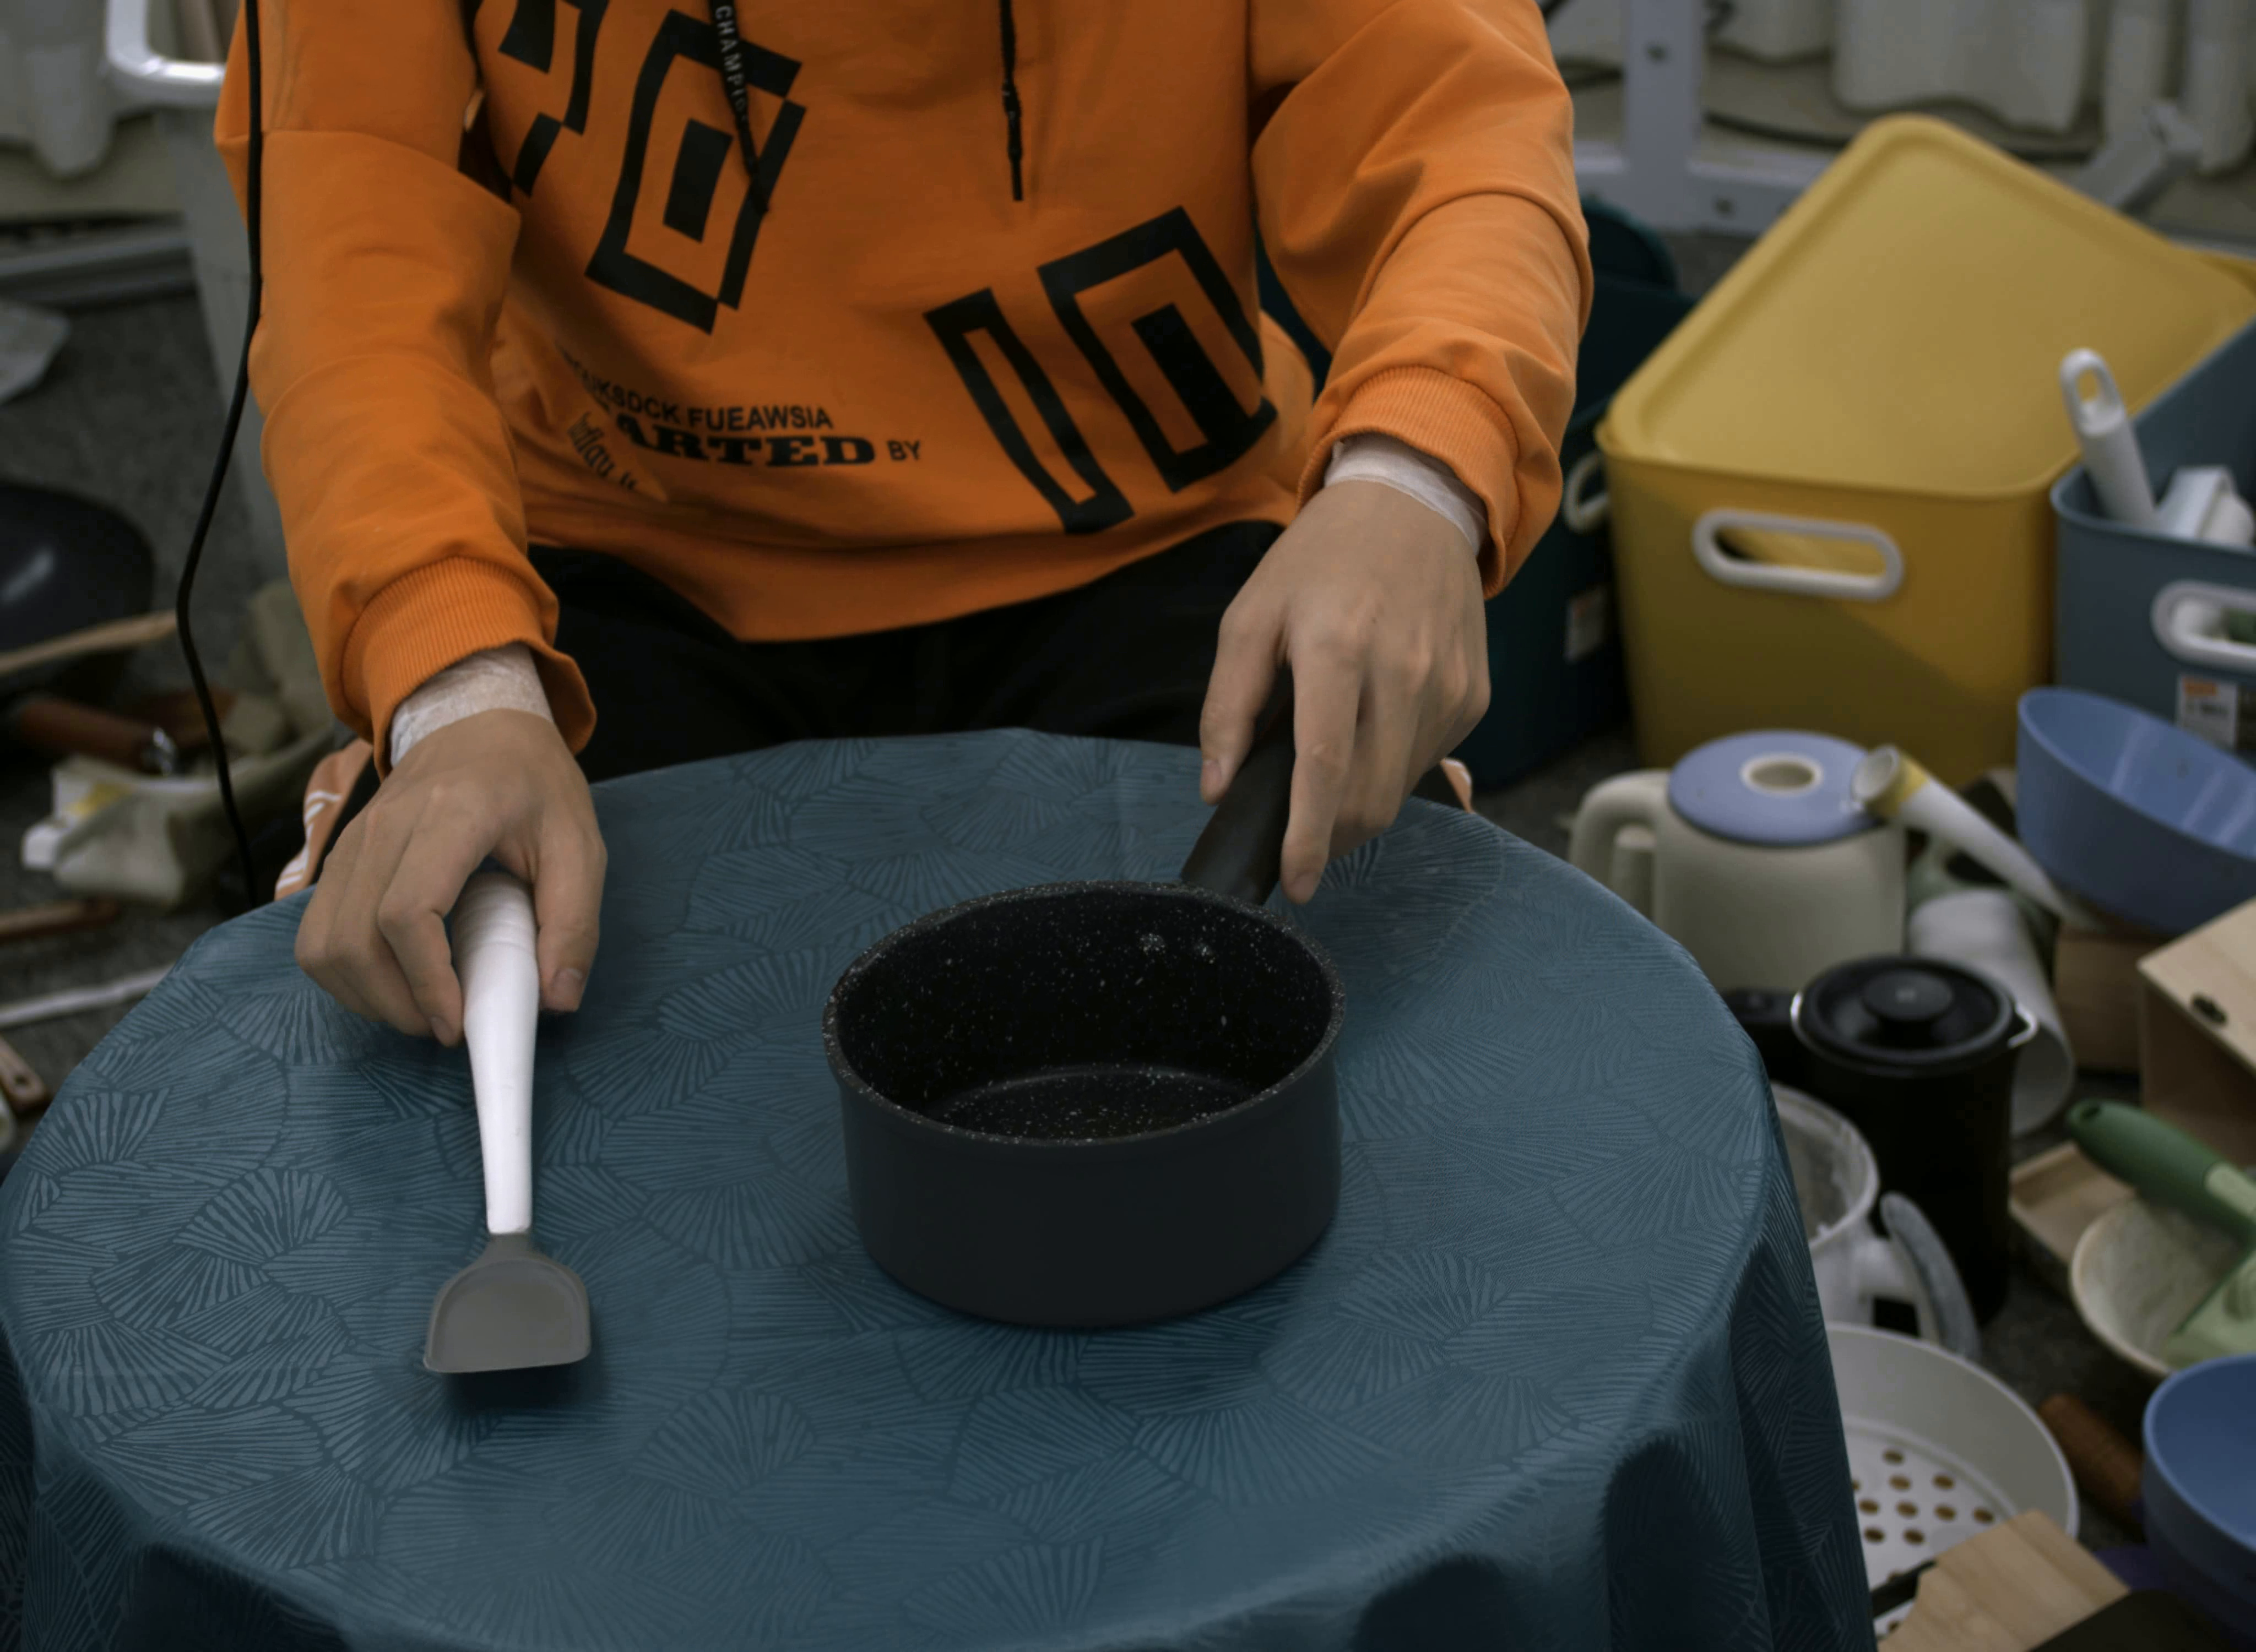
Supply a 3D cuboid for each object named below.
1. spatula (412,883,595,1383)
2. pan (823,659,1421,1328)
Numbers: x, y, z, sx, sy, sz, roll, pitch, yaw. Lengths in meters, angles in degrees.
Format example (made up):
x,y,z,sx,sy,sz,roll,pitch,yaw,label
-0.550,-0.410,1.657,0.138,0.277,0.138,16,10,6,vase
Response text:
x,y,z,sx,sy,sz,roll,pitch,yaw,label
-0.209,0.106,1.873,0.058,0.032,0.292,0,30,-7,spatula
0.021,0.052,1.902,0.171,0.085,0.334,10,32,23,pan
